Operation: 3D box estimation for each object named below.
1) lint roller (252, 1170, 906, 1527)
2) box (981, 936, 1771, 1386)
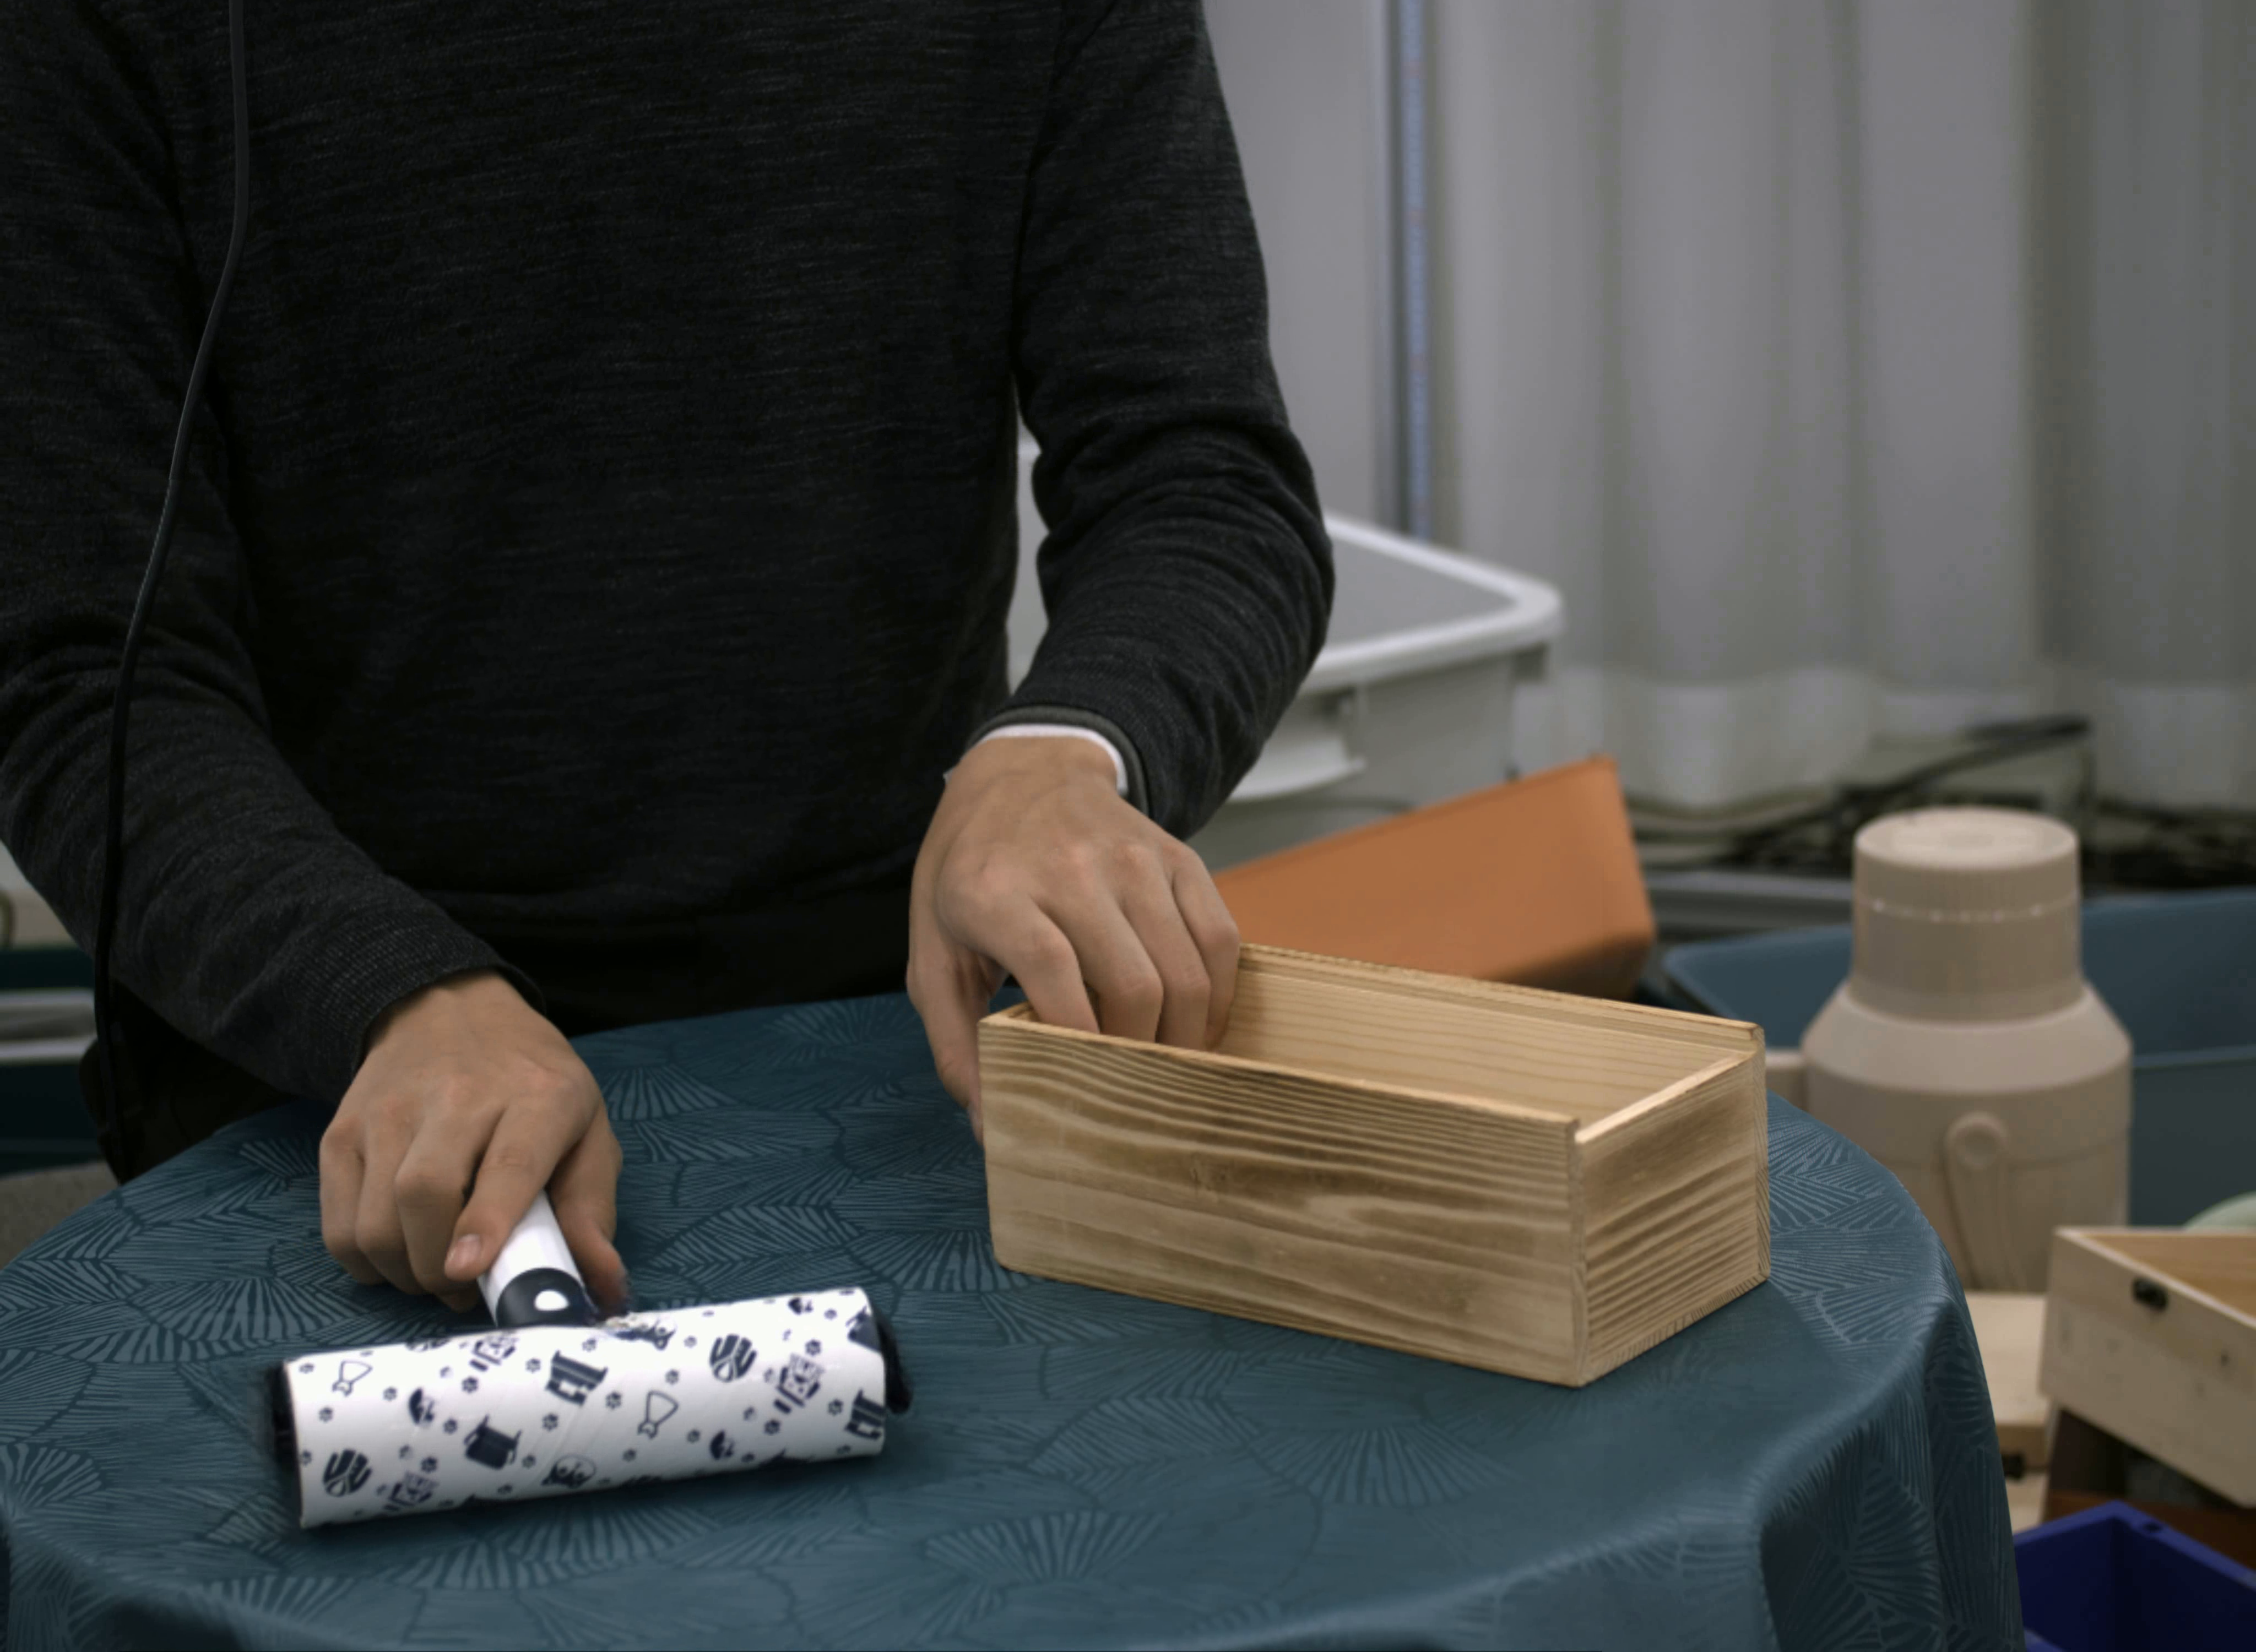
[{"bbox_3d":[-0.173,0.135,1.584,0.175,0.050,0.249,-7,14,-12],"label":"lint roller"},{"bbox_3d":[0.072,0.096,1.617,0.212,0.080,0.107,8,17,37],"label":"box"}]
